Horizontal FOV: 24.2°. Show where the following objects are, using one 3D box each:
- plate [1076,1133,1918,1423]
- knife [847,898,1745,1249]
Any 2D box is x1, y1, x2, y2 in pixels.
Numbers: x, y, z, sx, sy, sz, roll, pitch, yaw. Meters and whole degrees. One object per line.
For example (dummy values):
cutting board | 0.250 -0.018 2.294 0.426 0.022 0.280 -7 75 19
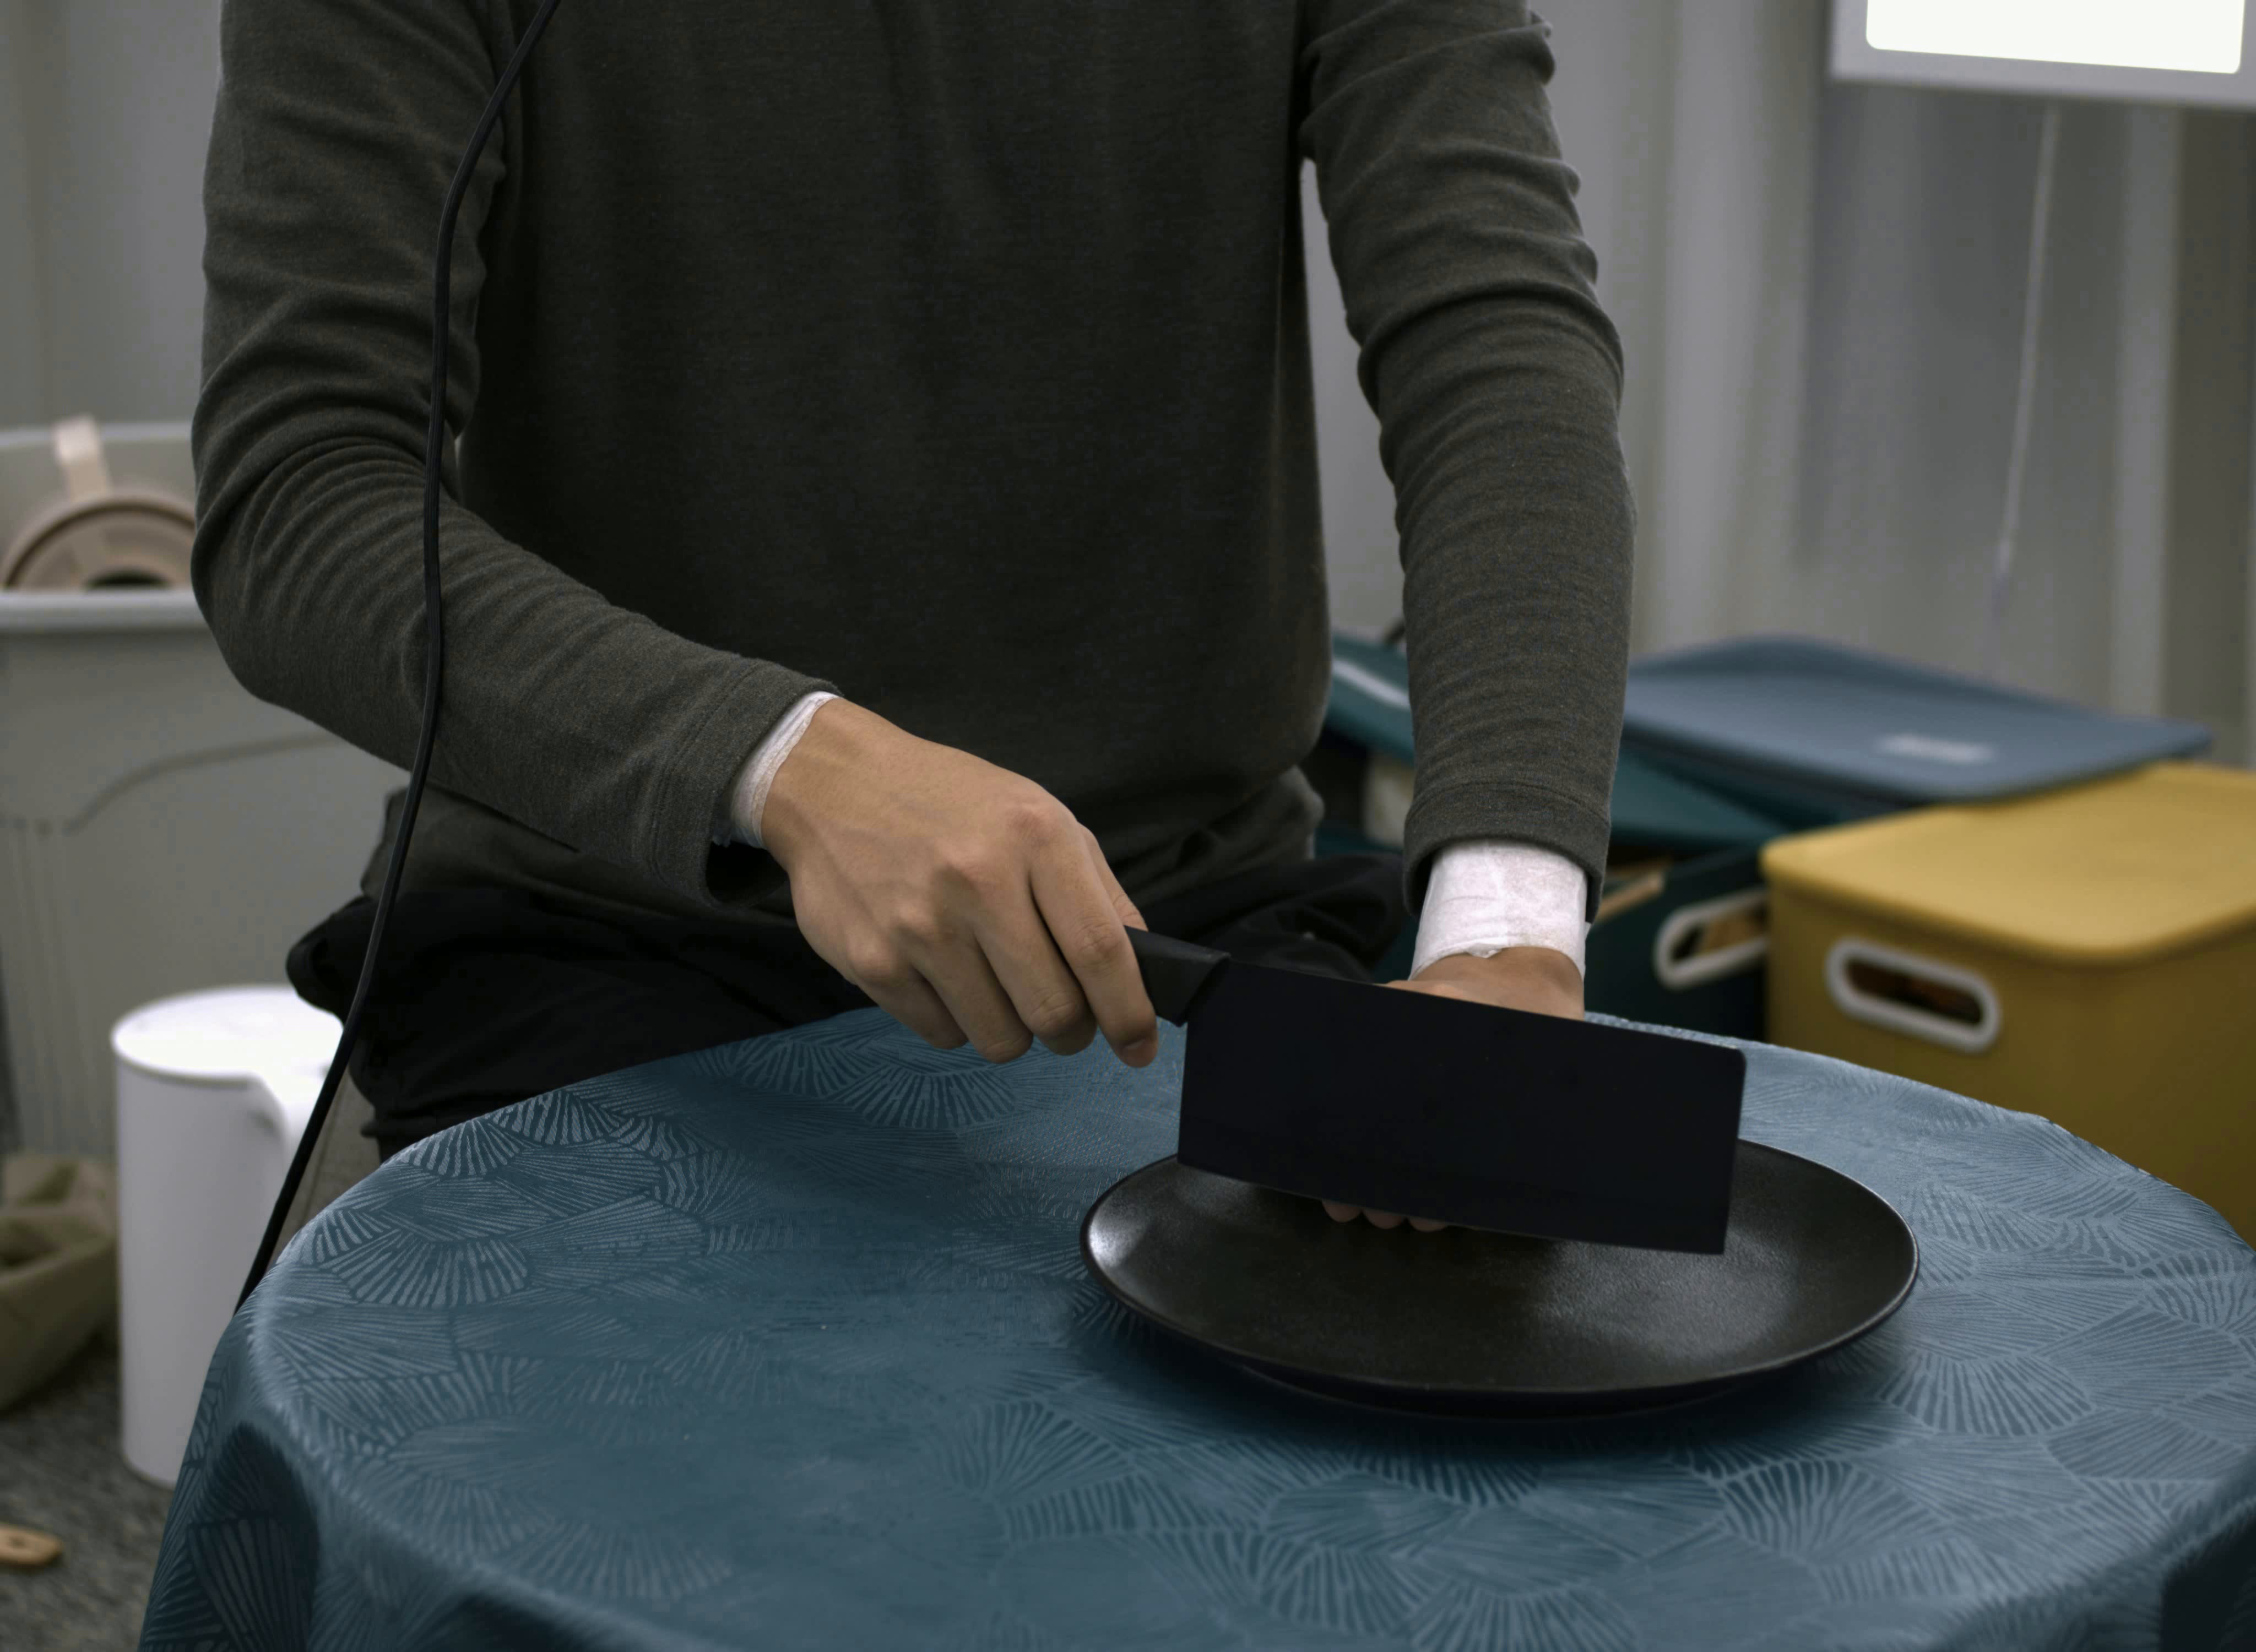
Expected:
plate | 0.106 0.129 1.526 0.243 0.023 0.243 1 16 0
knife | 0.045 0.069 1.562 0.299 0.081 0.021 14 10 28
